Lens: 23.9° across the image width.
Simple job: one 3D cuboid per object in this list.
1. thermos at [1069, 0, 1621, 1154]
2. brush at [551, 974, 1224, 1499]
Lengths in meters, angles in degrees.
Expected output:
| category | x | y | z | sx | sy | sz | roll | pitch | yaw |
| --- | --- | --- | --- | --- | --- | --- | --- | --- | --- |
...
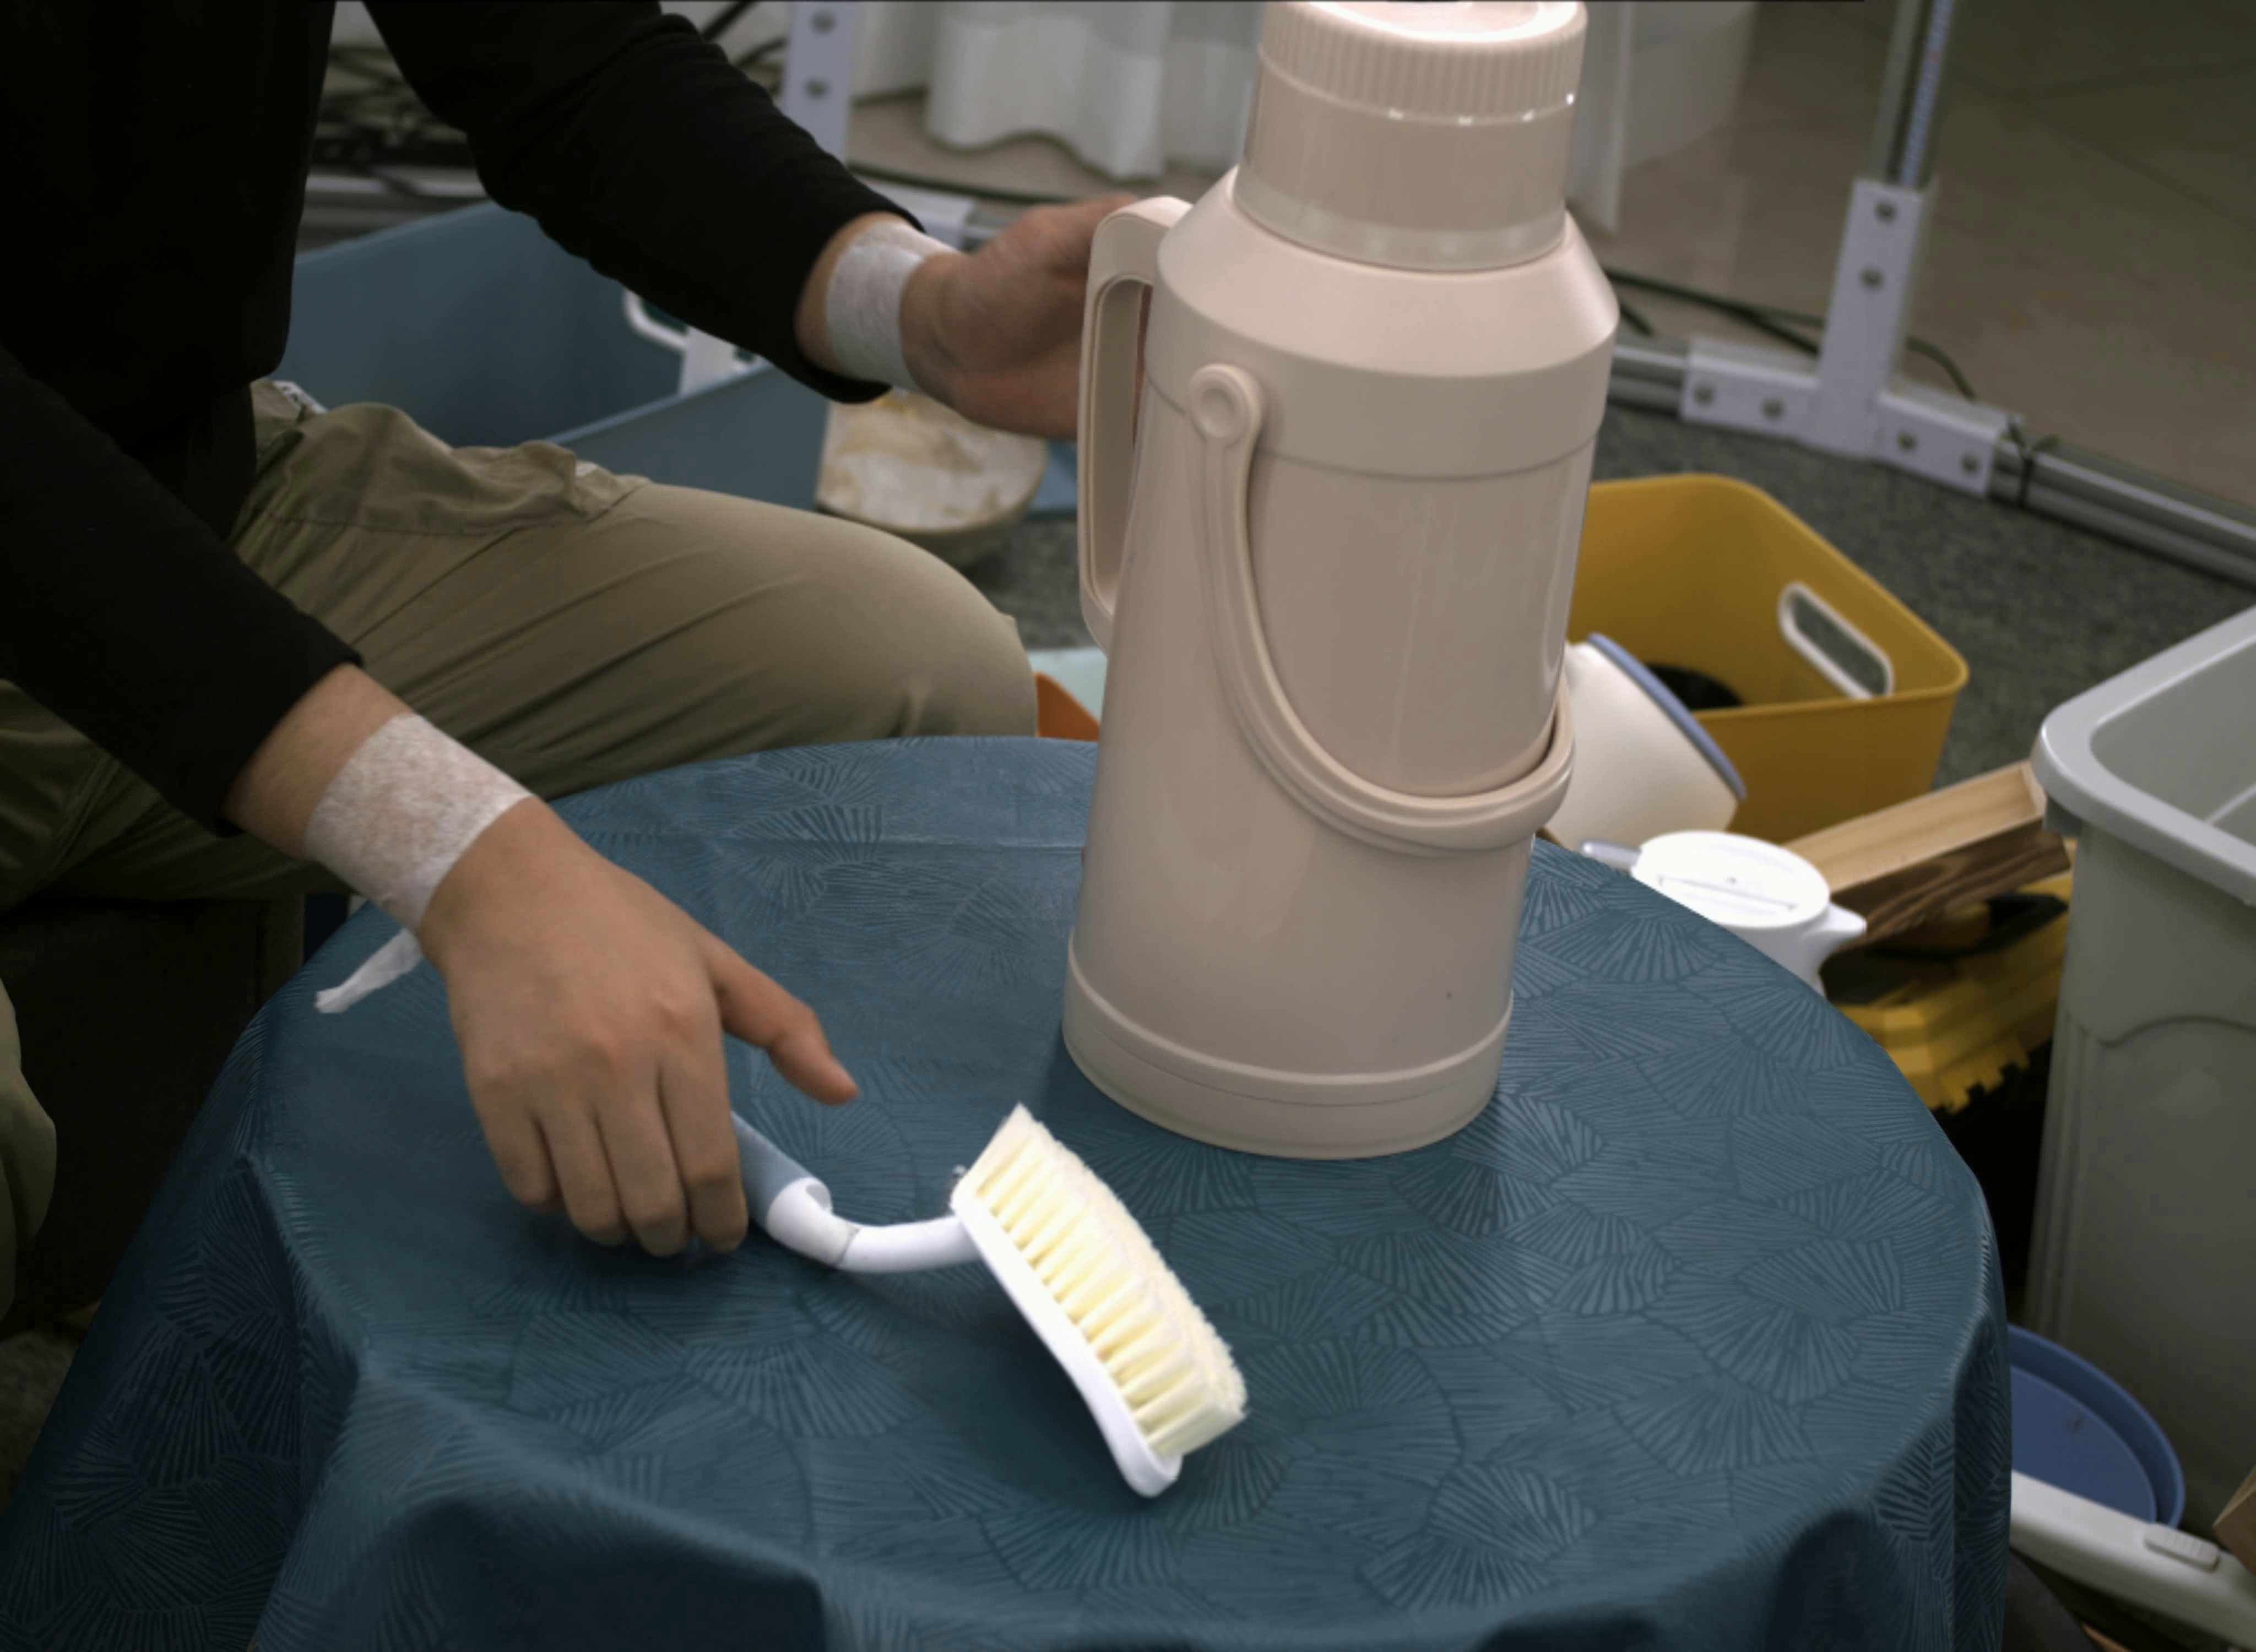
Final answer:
| category | x | y | z | sx | sy | sz | roll | pitch | yaw |
| --- | --- | --- | --- | --- | --- | --- | --- | --- | --- |
| thermos | 0.067 | -0.103 | 1.825 | 0.208 | 0.405 | 0.174 | 25 | 33 | 32 |
| brush | -0.075 | 0.104 | 1.733 | 0.084 | 0.083 | 0.328 | -20 | 39 | -33 |
